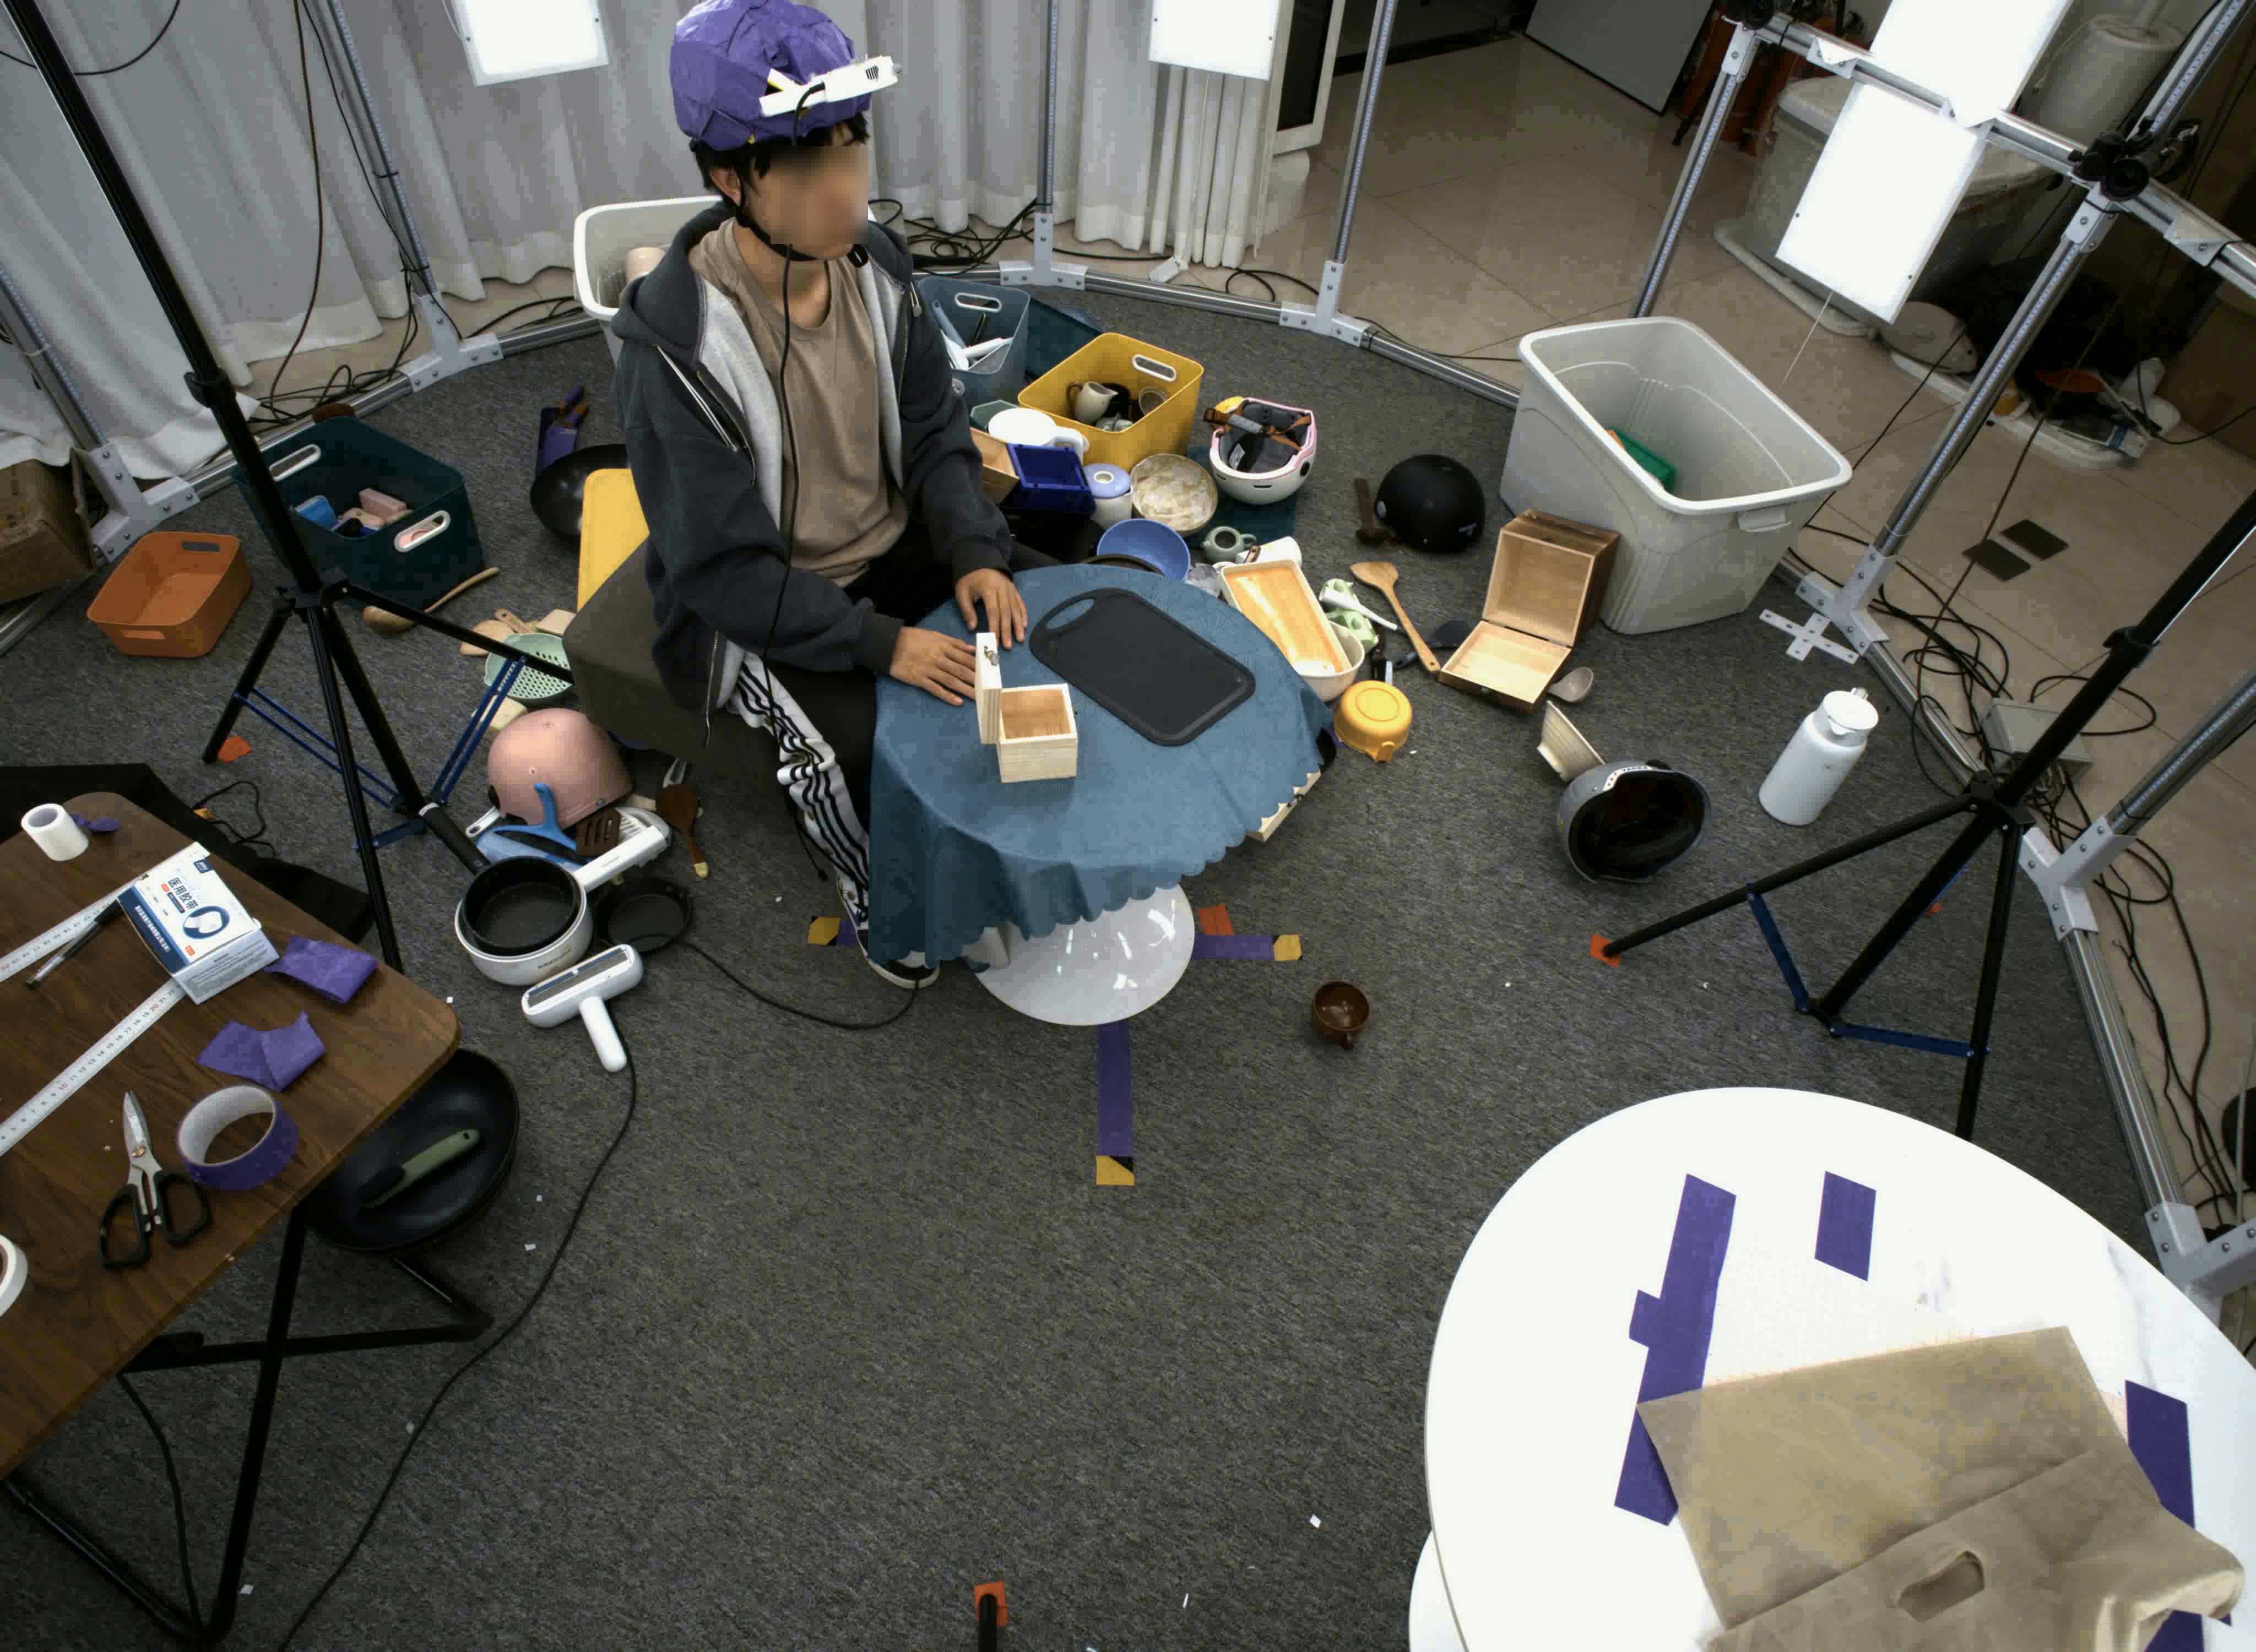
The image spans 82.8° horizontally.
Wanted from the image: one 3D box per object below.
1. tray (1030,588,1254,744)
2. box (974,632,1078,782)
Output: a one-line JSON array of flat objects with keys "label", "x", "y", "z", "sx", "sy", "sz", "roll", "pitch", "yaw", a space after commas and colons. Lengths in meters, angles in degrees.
[{"label": "tray", "x": 0.013, "y": -0.244, "z": 1.875, "sx": 0.330, "sy": 0.009, "sz": 0.213, "roll": 38, "pitch": 57, "yaw": 26}, {"label": "box", "x": -0.131, "y": -0.157, "z": 1.674, "sx": 0.134, "sy": 0.180, "sz": 0.105, "roll": -6, "pitch": 51, "yaw": -8}]
